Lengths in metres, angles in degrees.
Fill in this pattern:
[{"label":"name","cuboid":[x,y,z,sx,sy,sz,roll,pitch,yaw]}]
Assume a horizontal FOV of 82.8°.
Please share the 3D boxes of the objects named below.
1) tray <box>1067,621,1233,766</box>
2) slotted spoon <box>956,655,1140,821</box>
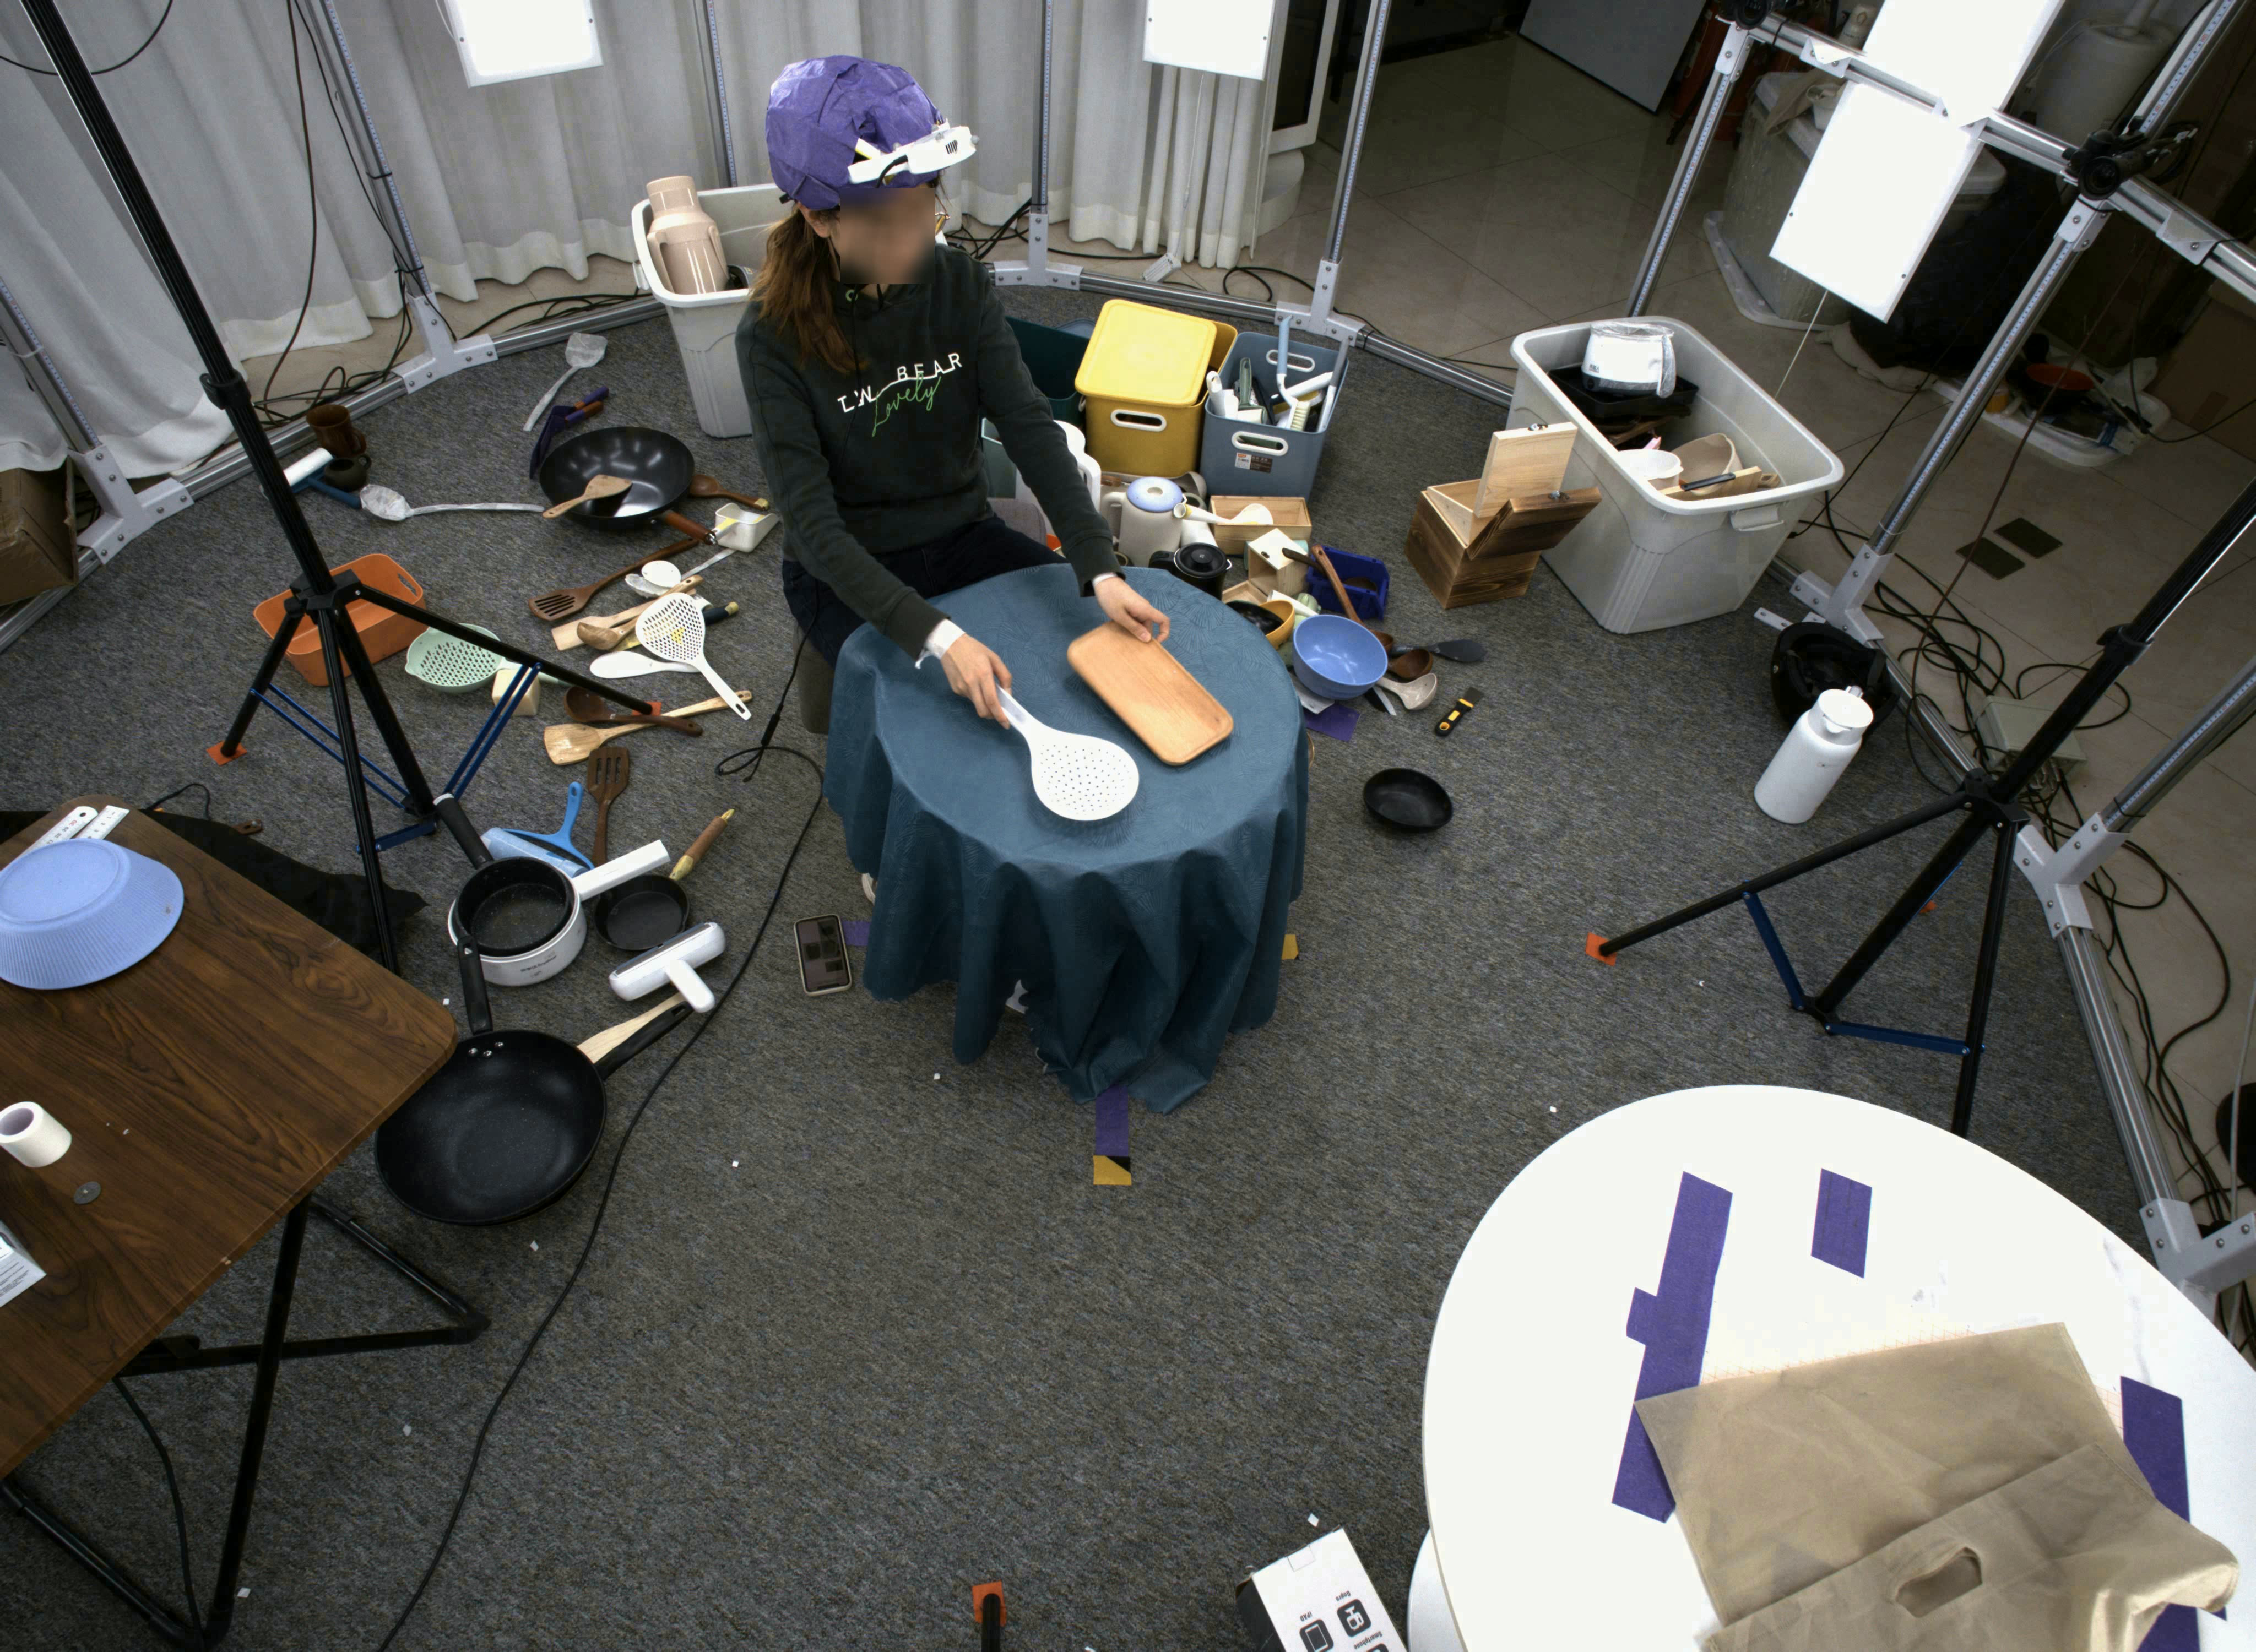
[{"label":"tray","cuboid":[0.029,-0.190,1.821,0.131,0.022,0.255,-33,62,-21]},{"label":"slotted spoon","cuboid":[-0.123,-0.124,1.739,0.137,0.045,0.355,-32,63,-25]}]
